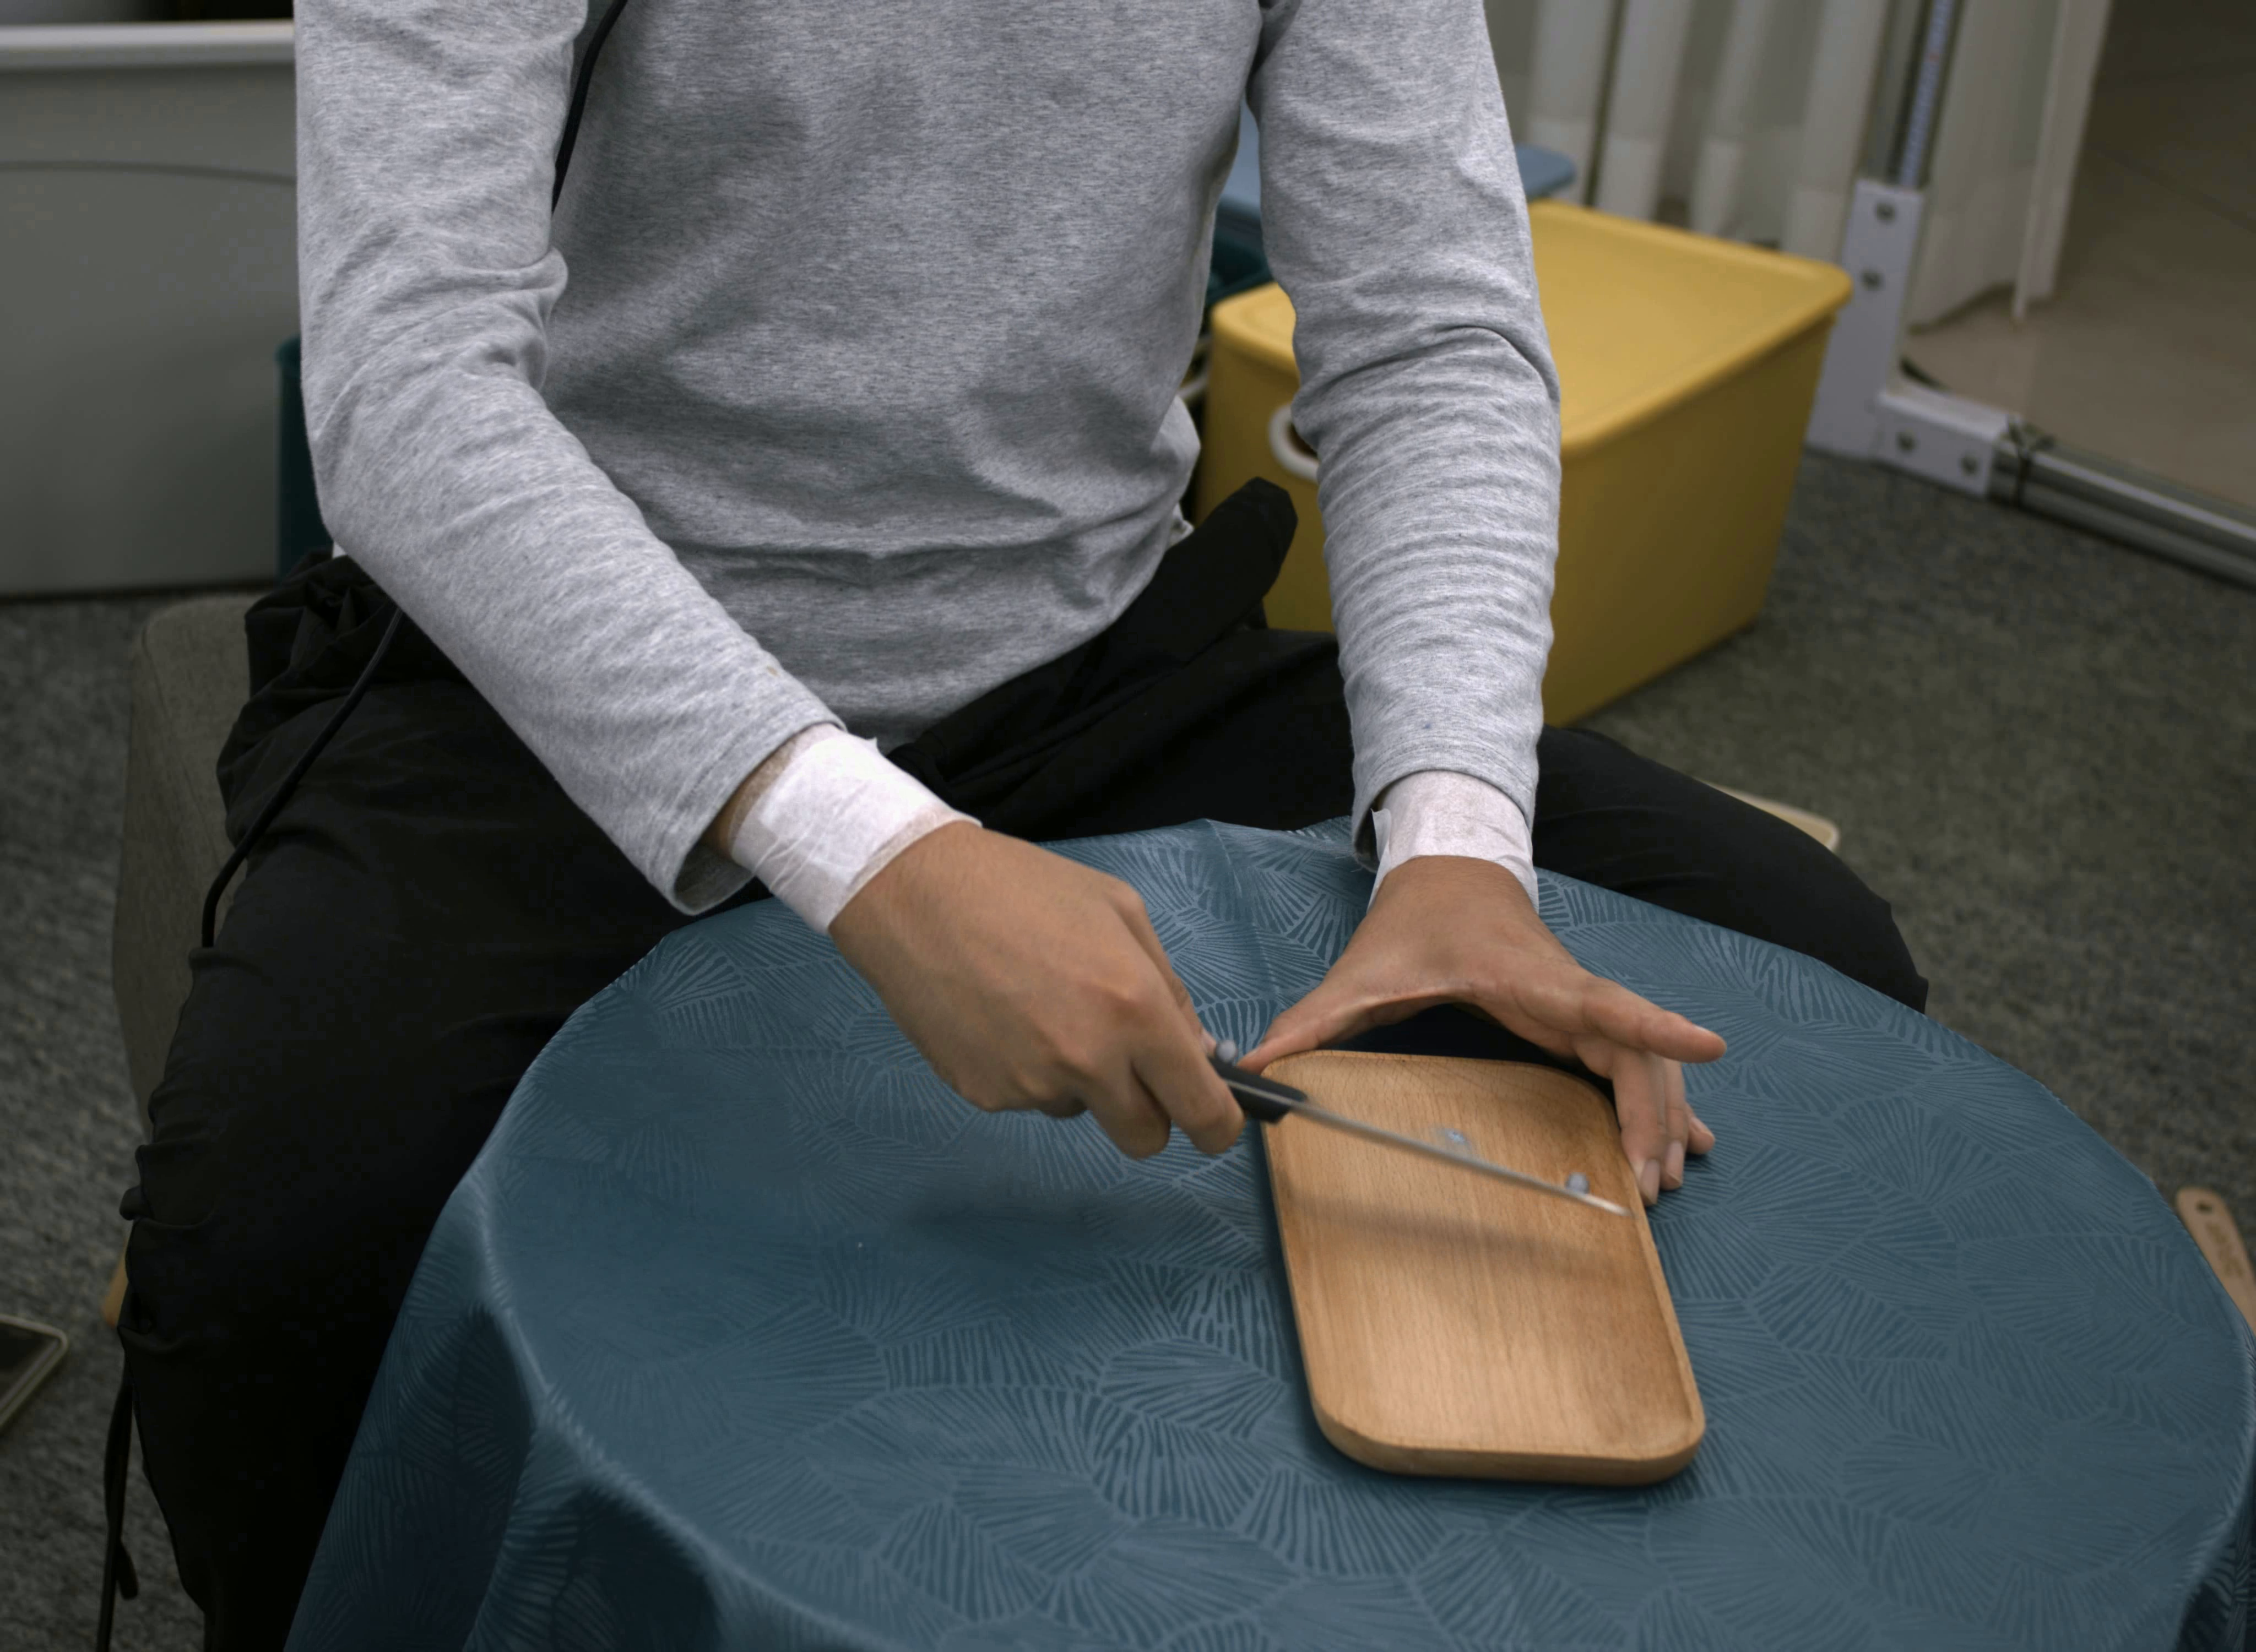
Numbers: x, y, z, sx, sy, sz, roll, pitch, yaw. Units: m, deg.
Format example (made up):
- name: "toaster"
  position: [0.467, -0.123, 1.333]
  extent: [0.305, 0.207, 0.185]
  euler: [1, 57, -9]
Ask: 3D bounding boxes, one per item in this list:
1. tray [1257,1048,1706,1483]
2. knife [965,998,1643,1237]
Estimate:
- name: "tray"
  position: [0.114, 0.144, 1.774]
  extent: [0.130, 0.023, 0.252]
  euler: [7, 26, -6]
- name: "knife"
  position: [0.059, 0.099, 1.774]
  extent: [0.238, 0.016, 0.024]
  euler: [18, -11, 2]
